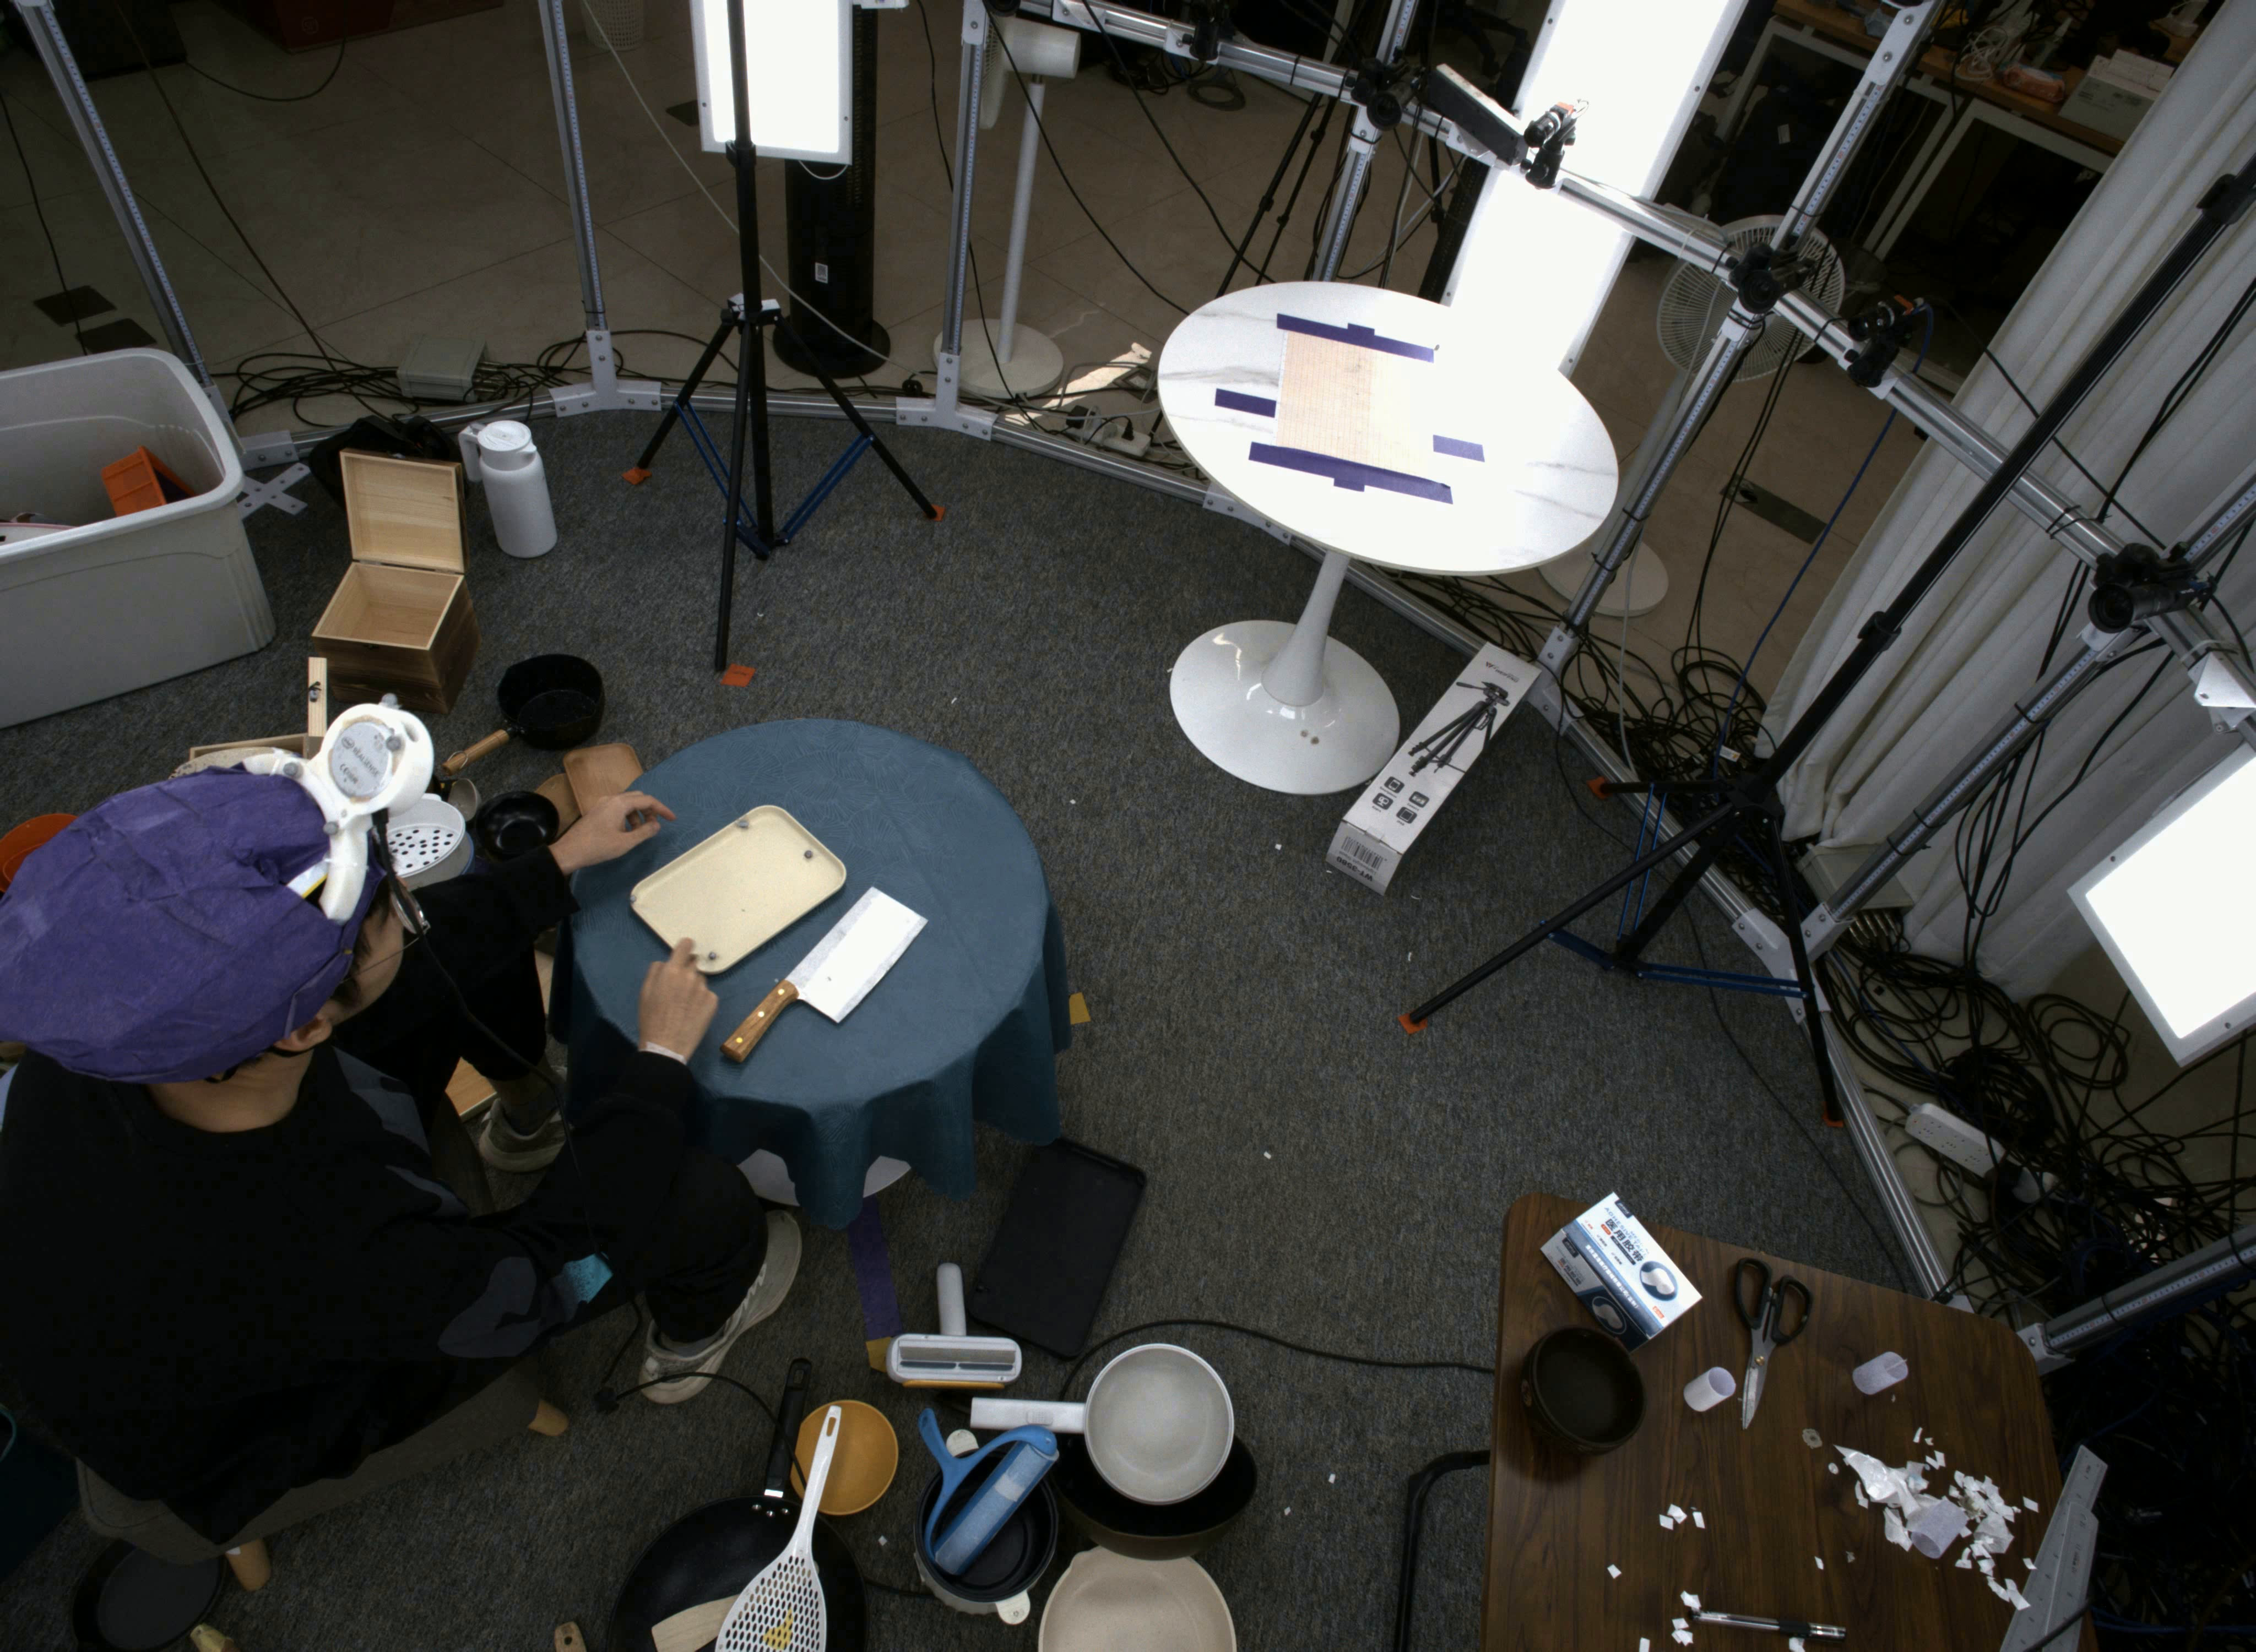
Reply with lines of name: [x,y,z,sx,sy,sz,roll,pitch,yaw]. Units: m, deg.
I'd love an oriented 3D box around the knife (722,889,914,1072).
knife: [-0.366,0.190,1.577,0.091,0.021,0.304,31,50,7]

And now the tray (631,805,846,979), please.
tray: [-0.488,0.078,1.626,0.168,0.018,0.240,40,54,15]
